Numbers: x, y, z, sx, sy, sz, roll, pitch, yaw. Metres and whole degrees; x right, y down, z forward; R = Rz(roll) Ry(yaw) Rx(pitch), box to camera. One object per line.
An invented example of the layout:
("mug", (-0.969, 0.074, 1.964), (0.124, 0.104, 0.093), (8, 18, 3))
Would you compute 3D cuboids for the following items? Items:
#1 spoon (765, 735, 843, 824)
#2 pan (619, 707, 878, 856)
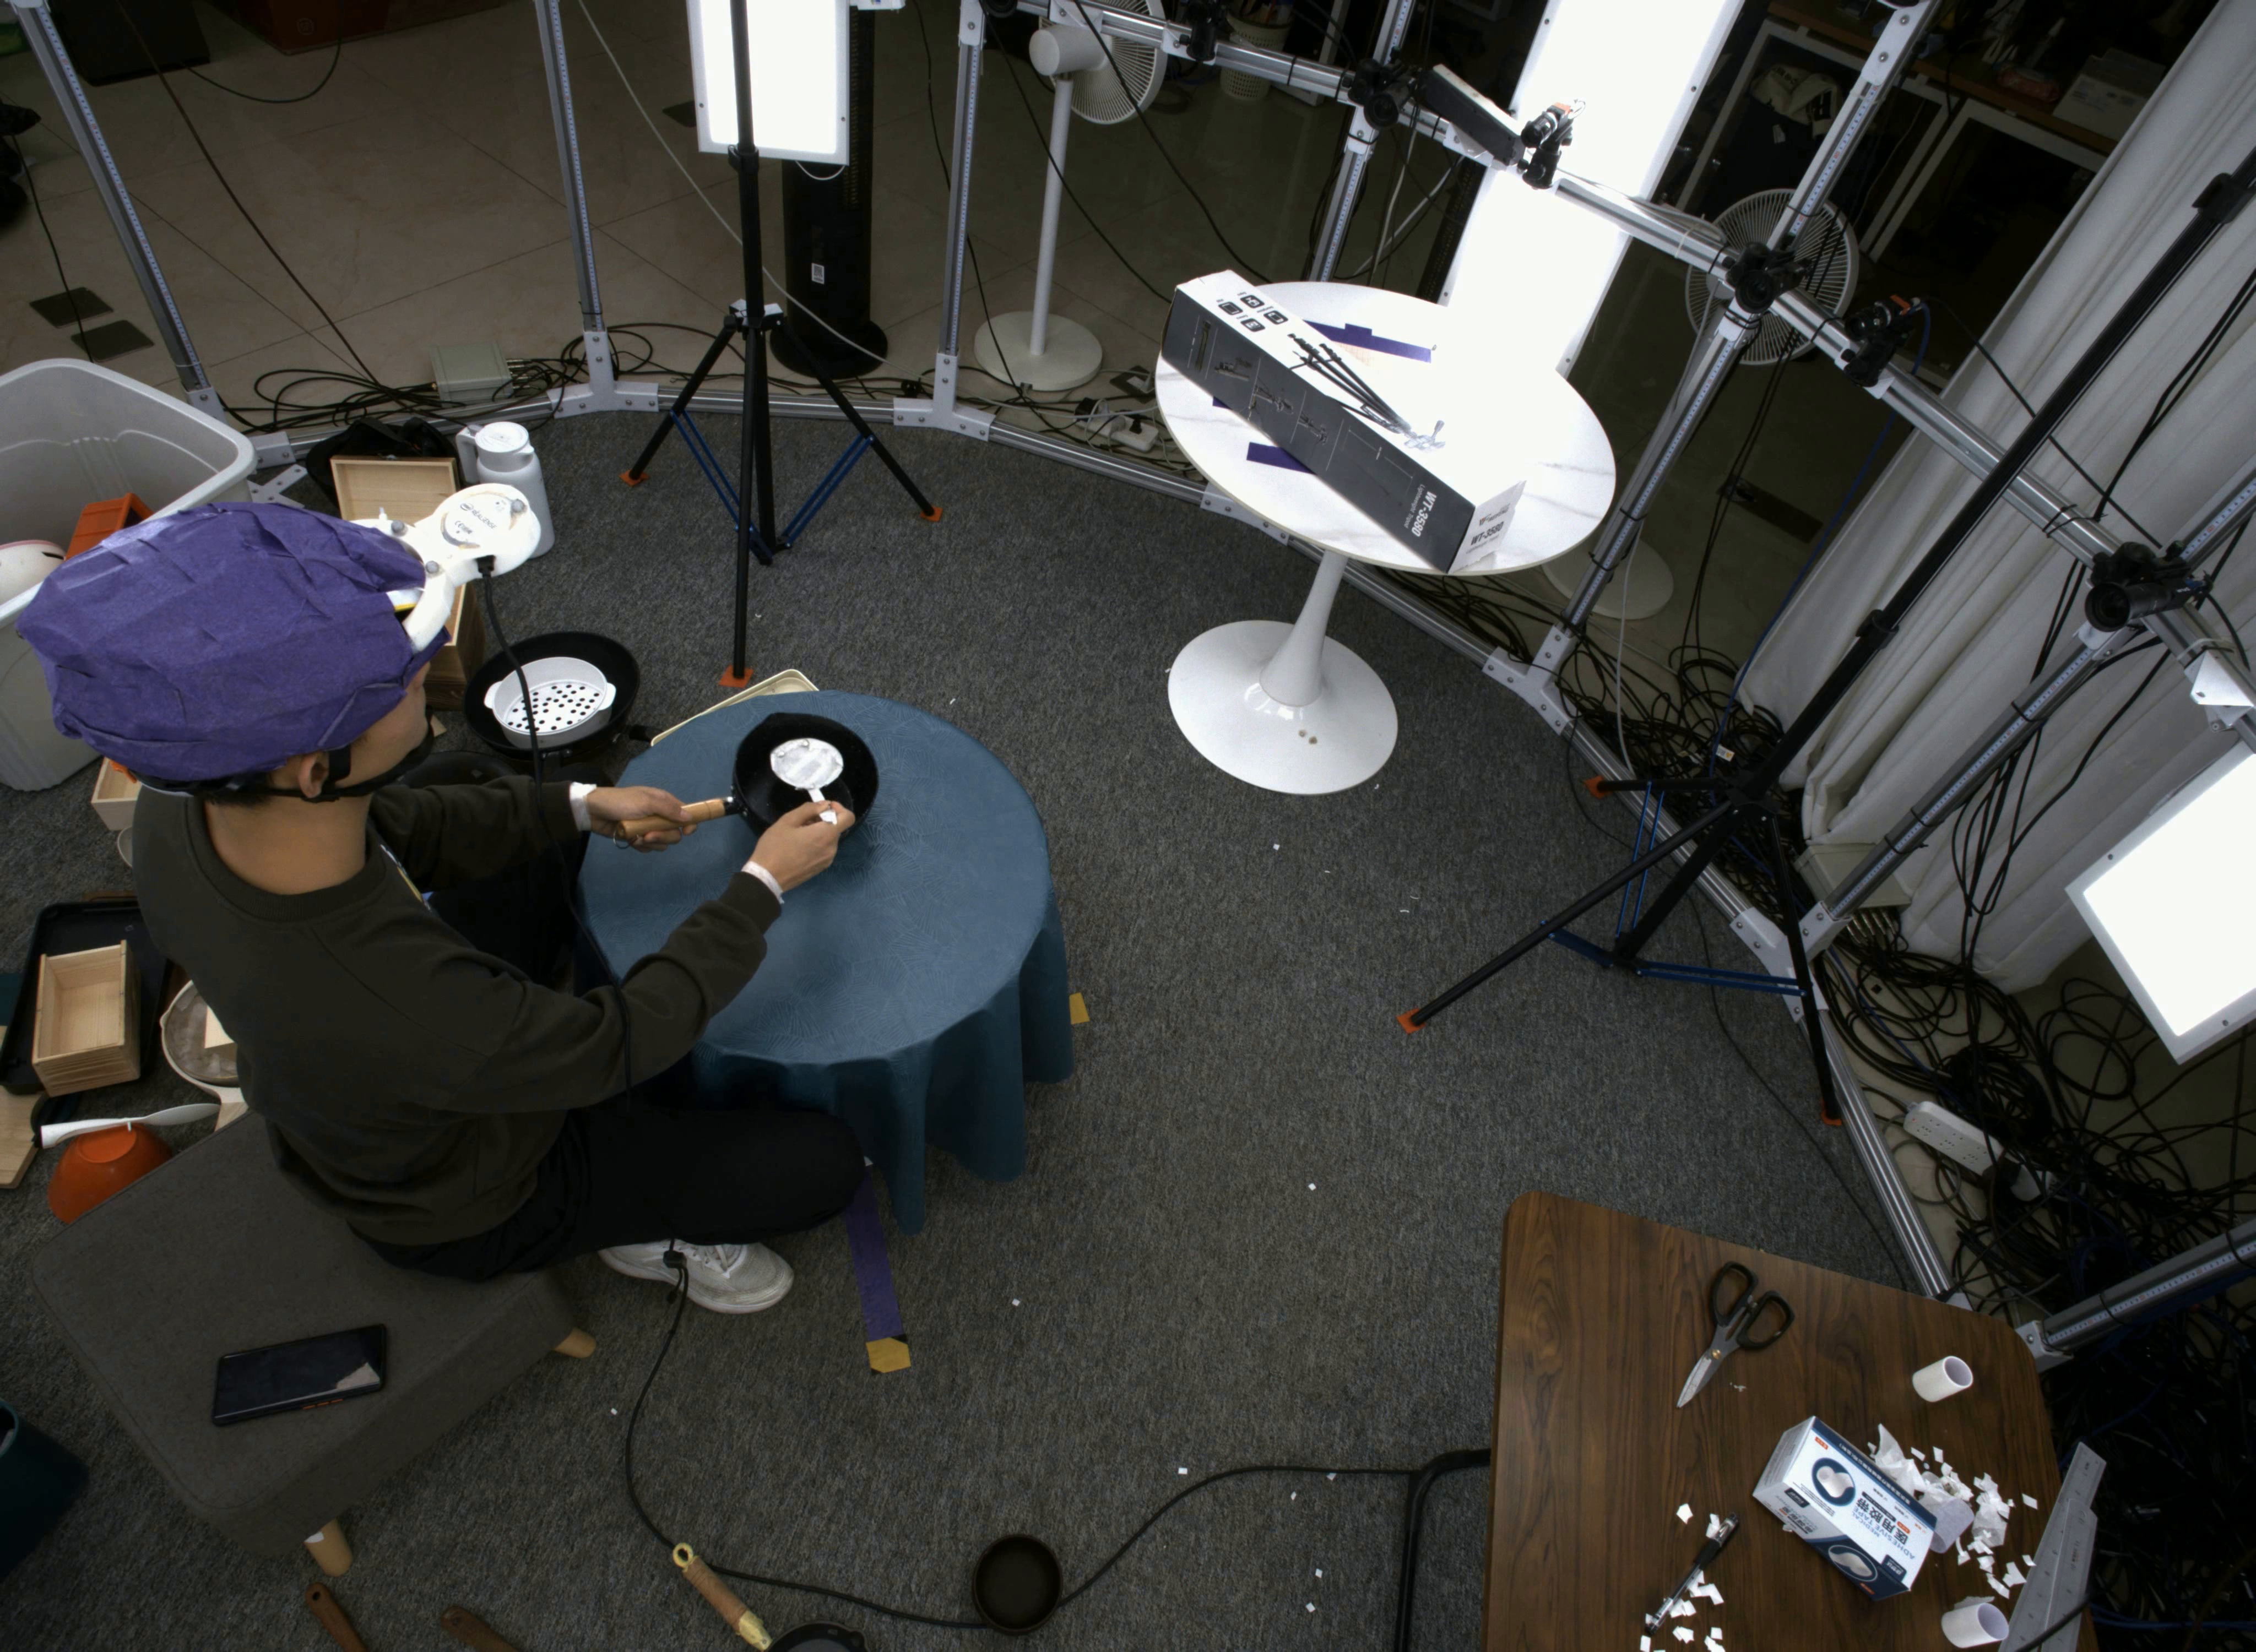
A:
("spoon", (-0.399, -0.062, 1.610), (0.101, 0.061, 0.270), (-5, 15, -15))
("pan", (-0.484, -0.029, 1.646), (0.345, 0.108, 0.205), (-23, 75, -35))
